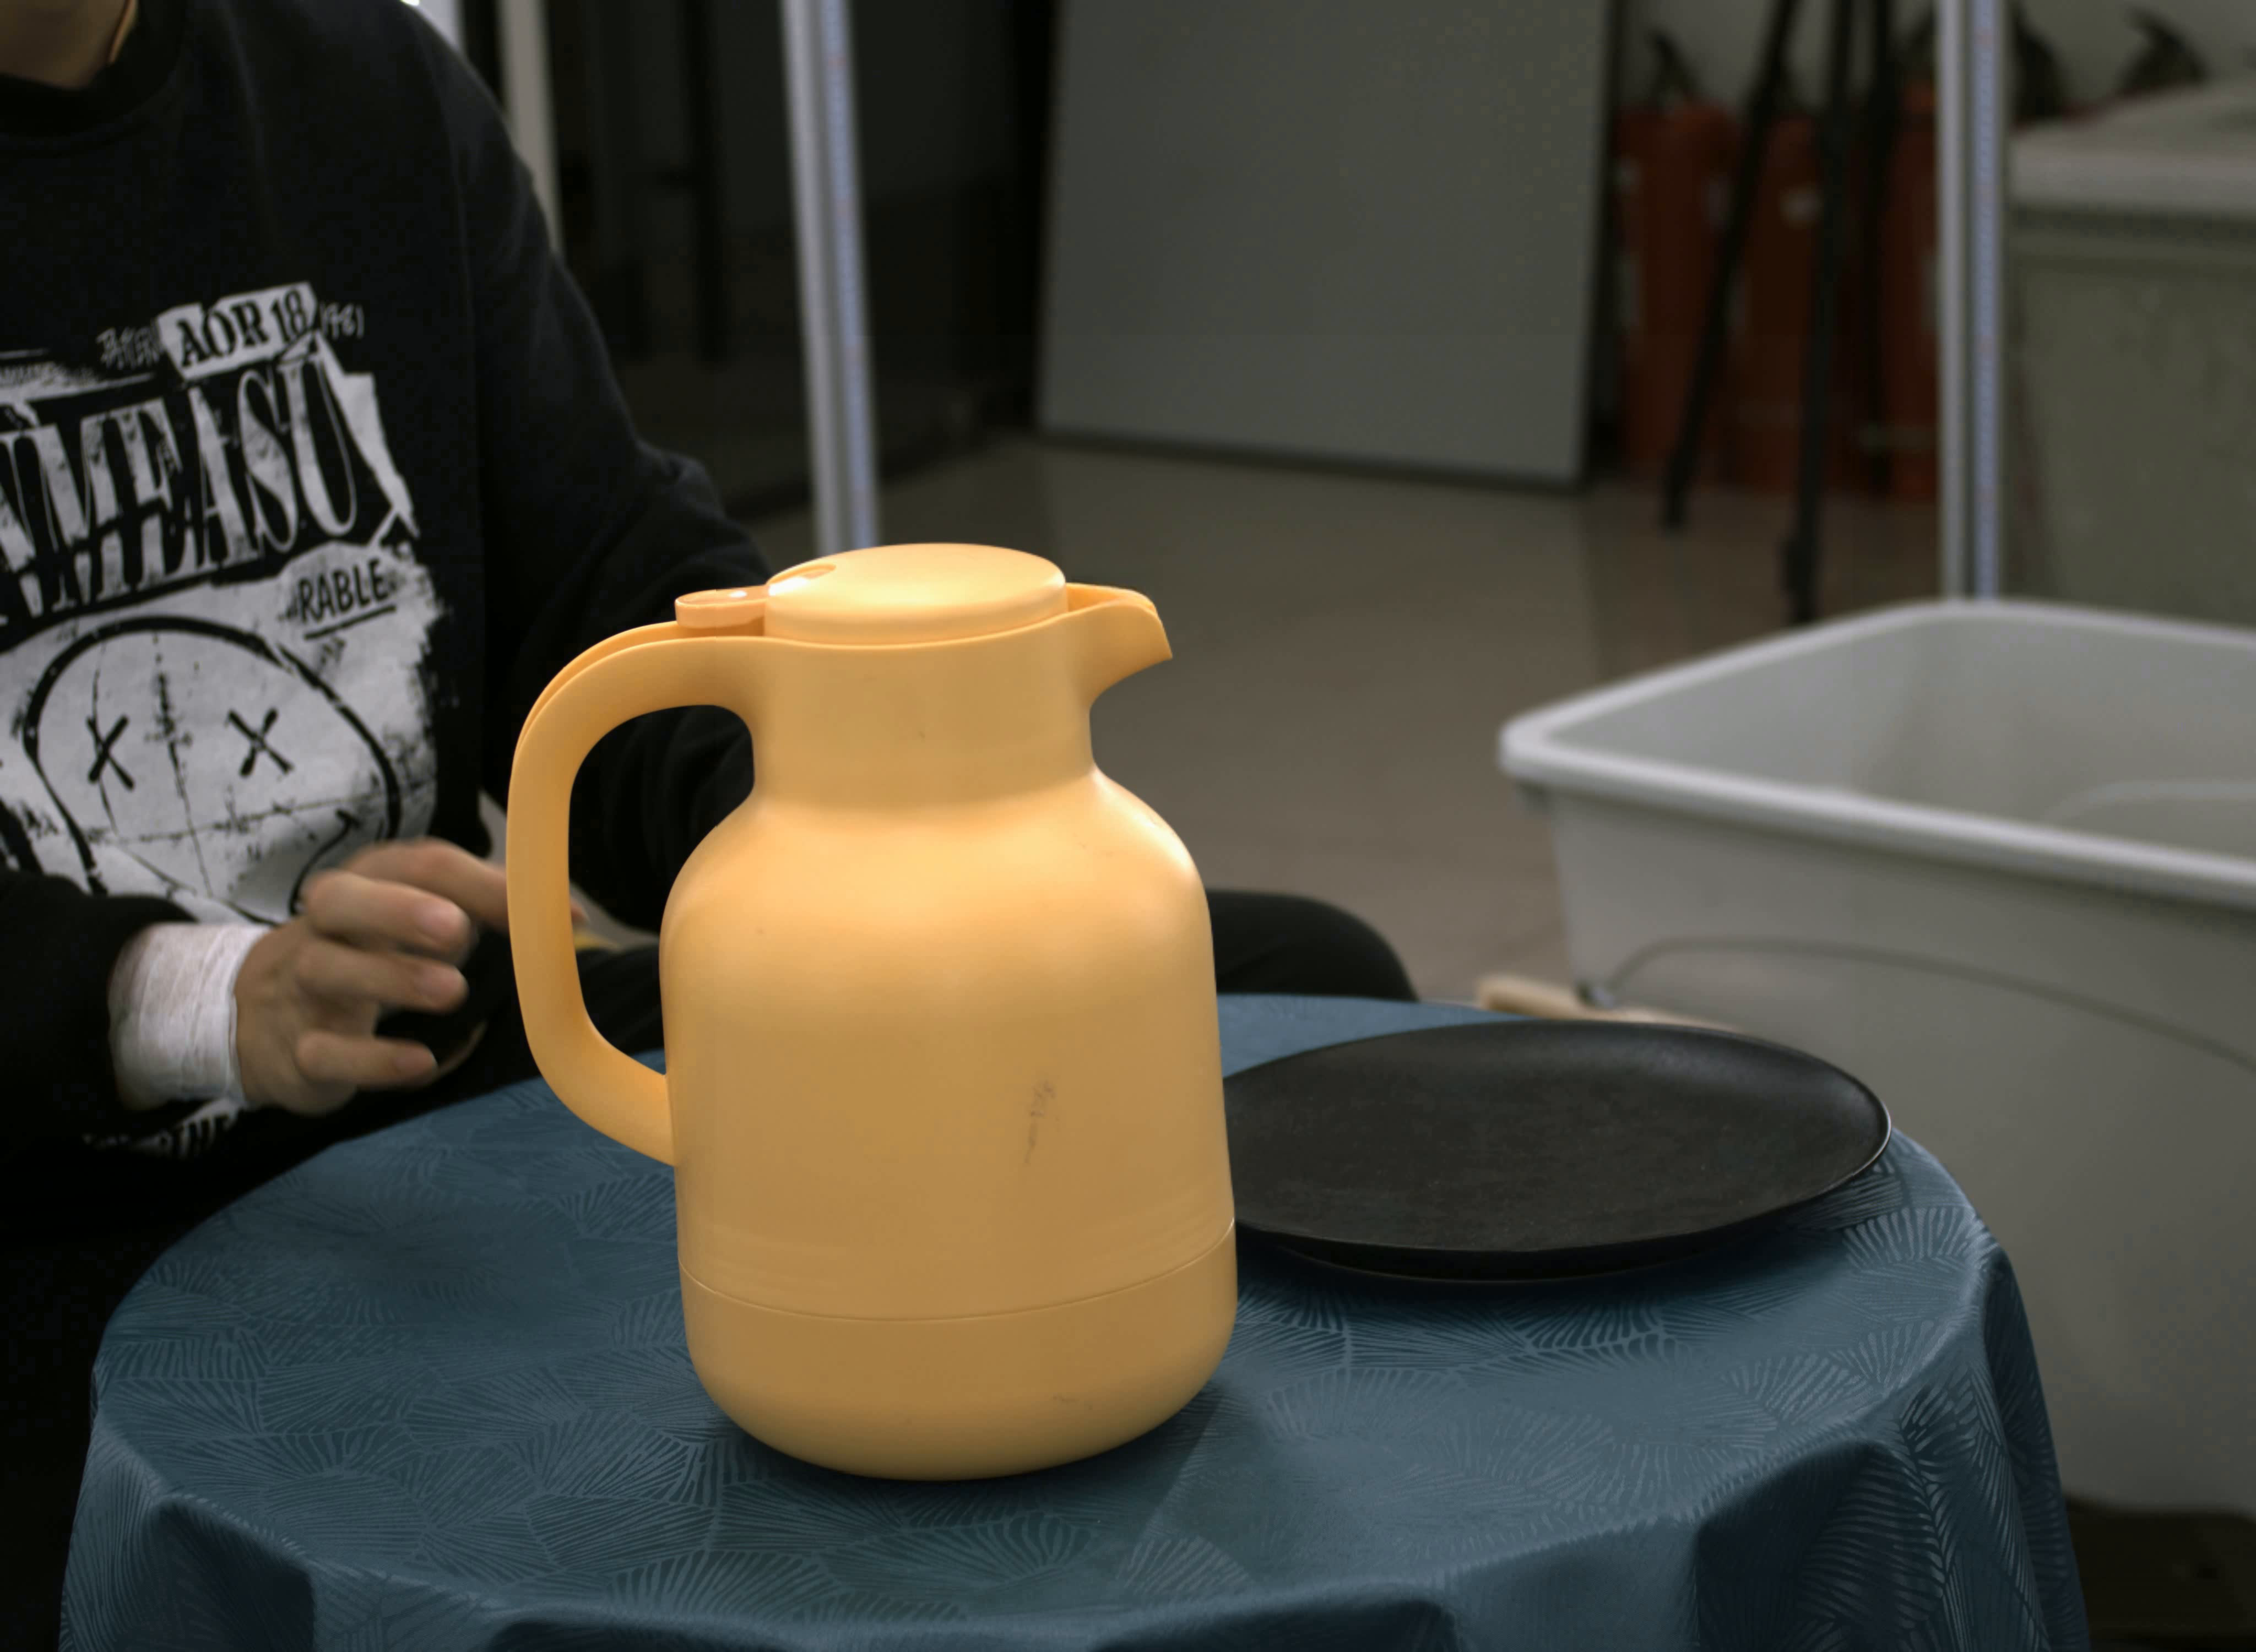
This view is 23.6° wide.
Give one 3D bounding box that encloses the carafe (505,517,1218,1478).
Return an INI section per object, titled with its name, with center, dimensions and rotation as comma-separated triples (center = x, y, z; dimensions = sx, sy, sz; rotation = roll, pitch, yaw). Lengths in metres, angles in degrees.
[carafe]
center = -0.076, 0.045, 1.549
dimensions = 0.200, 0.263, 0.163
rotation = -2, 10, 0

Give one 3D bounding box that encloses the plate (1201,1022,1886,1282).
[plate]
center = 0.125, 0.107, 1.741
dimensions = 0.241, 0.024, 0.245
rotation = -4, 14, 0
